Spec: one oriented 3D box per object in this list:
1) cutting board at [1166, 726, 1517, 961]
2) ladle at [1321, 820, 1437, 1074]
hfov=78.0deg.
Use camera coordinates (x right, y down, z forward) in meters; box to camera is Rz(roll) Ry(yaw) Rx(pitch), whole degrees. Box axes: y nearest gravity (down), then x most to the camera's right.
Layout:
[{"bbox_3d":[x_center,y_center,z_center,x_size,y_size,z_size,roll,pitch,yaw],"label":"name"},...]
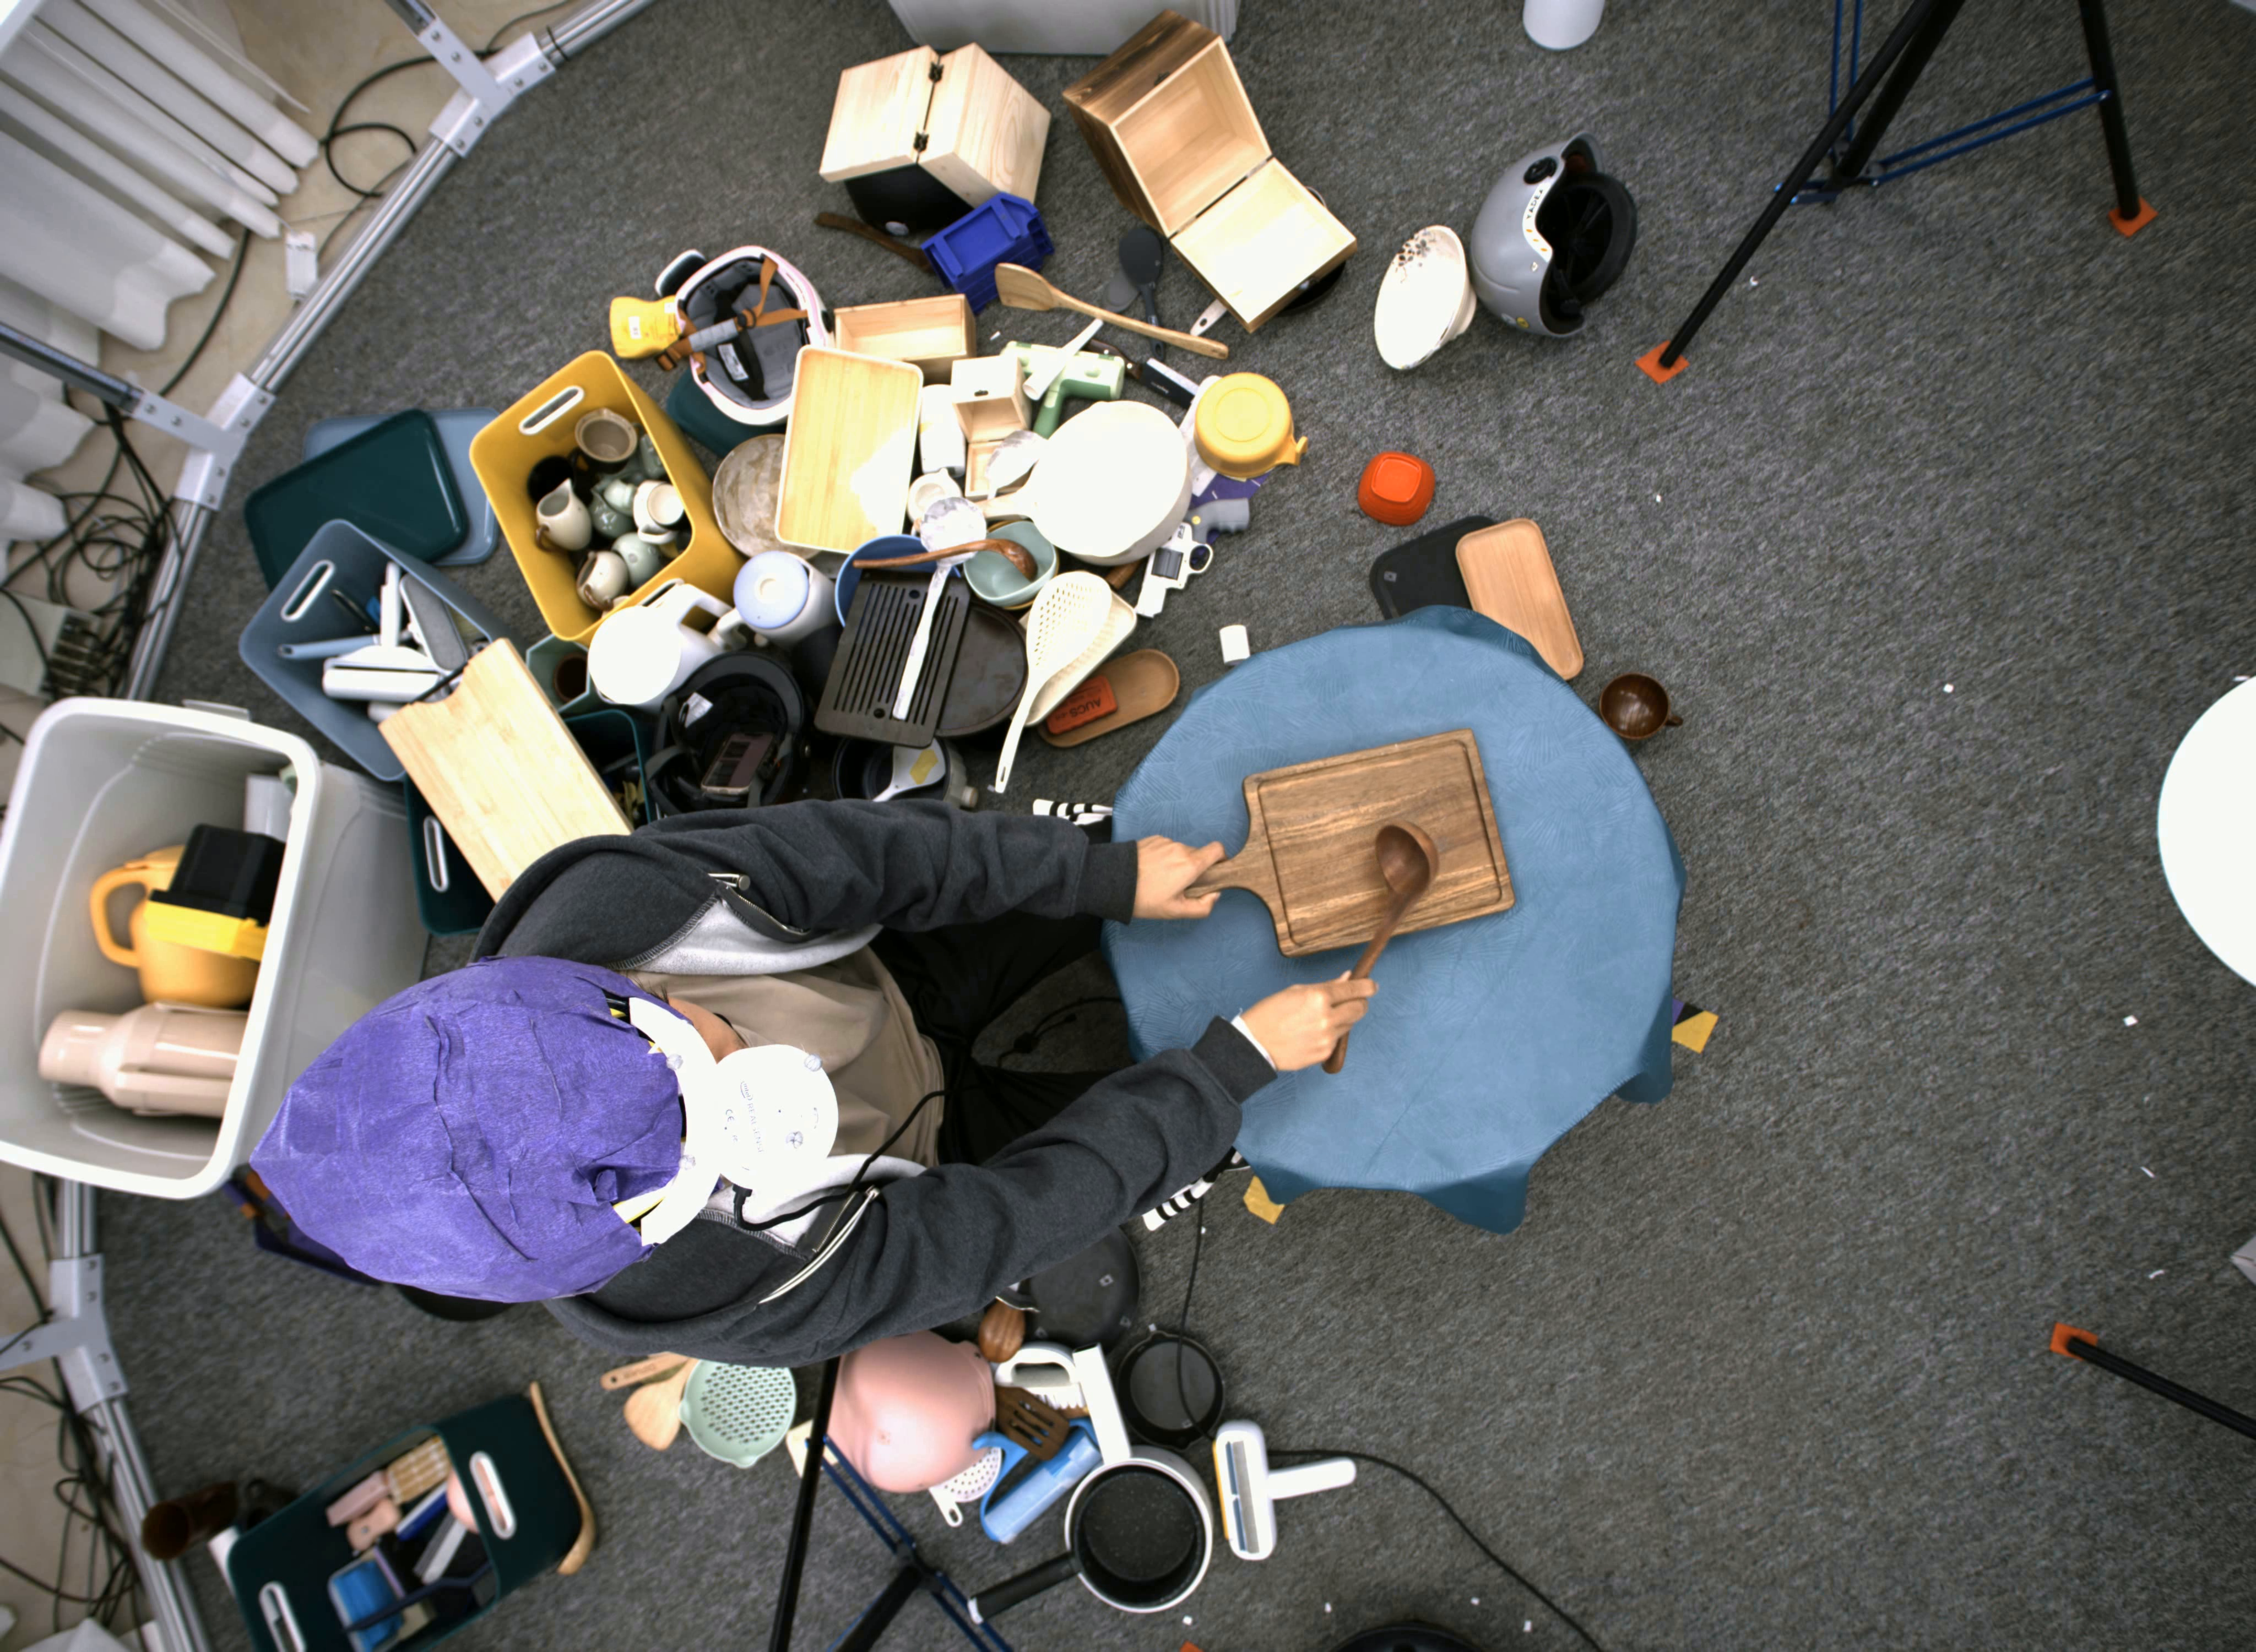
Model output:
[{"bbox_3d":[0.211,0.027,1.434,0.352,0.023,0.200,-13,85,0],"label":"cutting board"},{"bbox_3d":[0.232,0.118,1.359,0.065,0.076,0.261,23,94,-32],"label":"ladle"}]
